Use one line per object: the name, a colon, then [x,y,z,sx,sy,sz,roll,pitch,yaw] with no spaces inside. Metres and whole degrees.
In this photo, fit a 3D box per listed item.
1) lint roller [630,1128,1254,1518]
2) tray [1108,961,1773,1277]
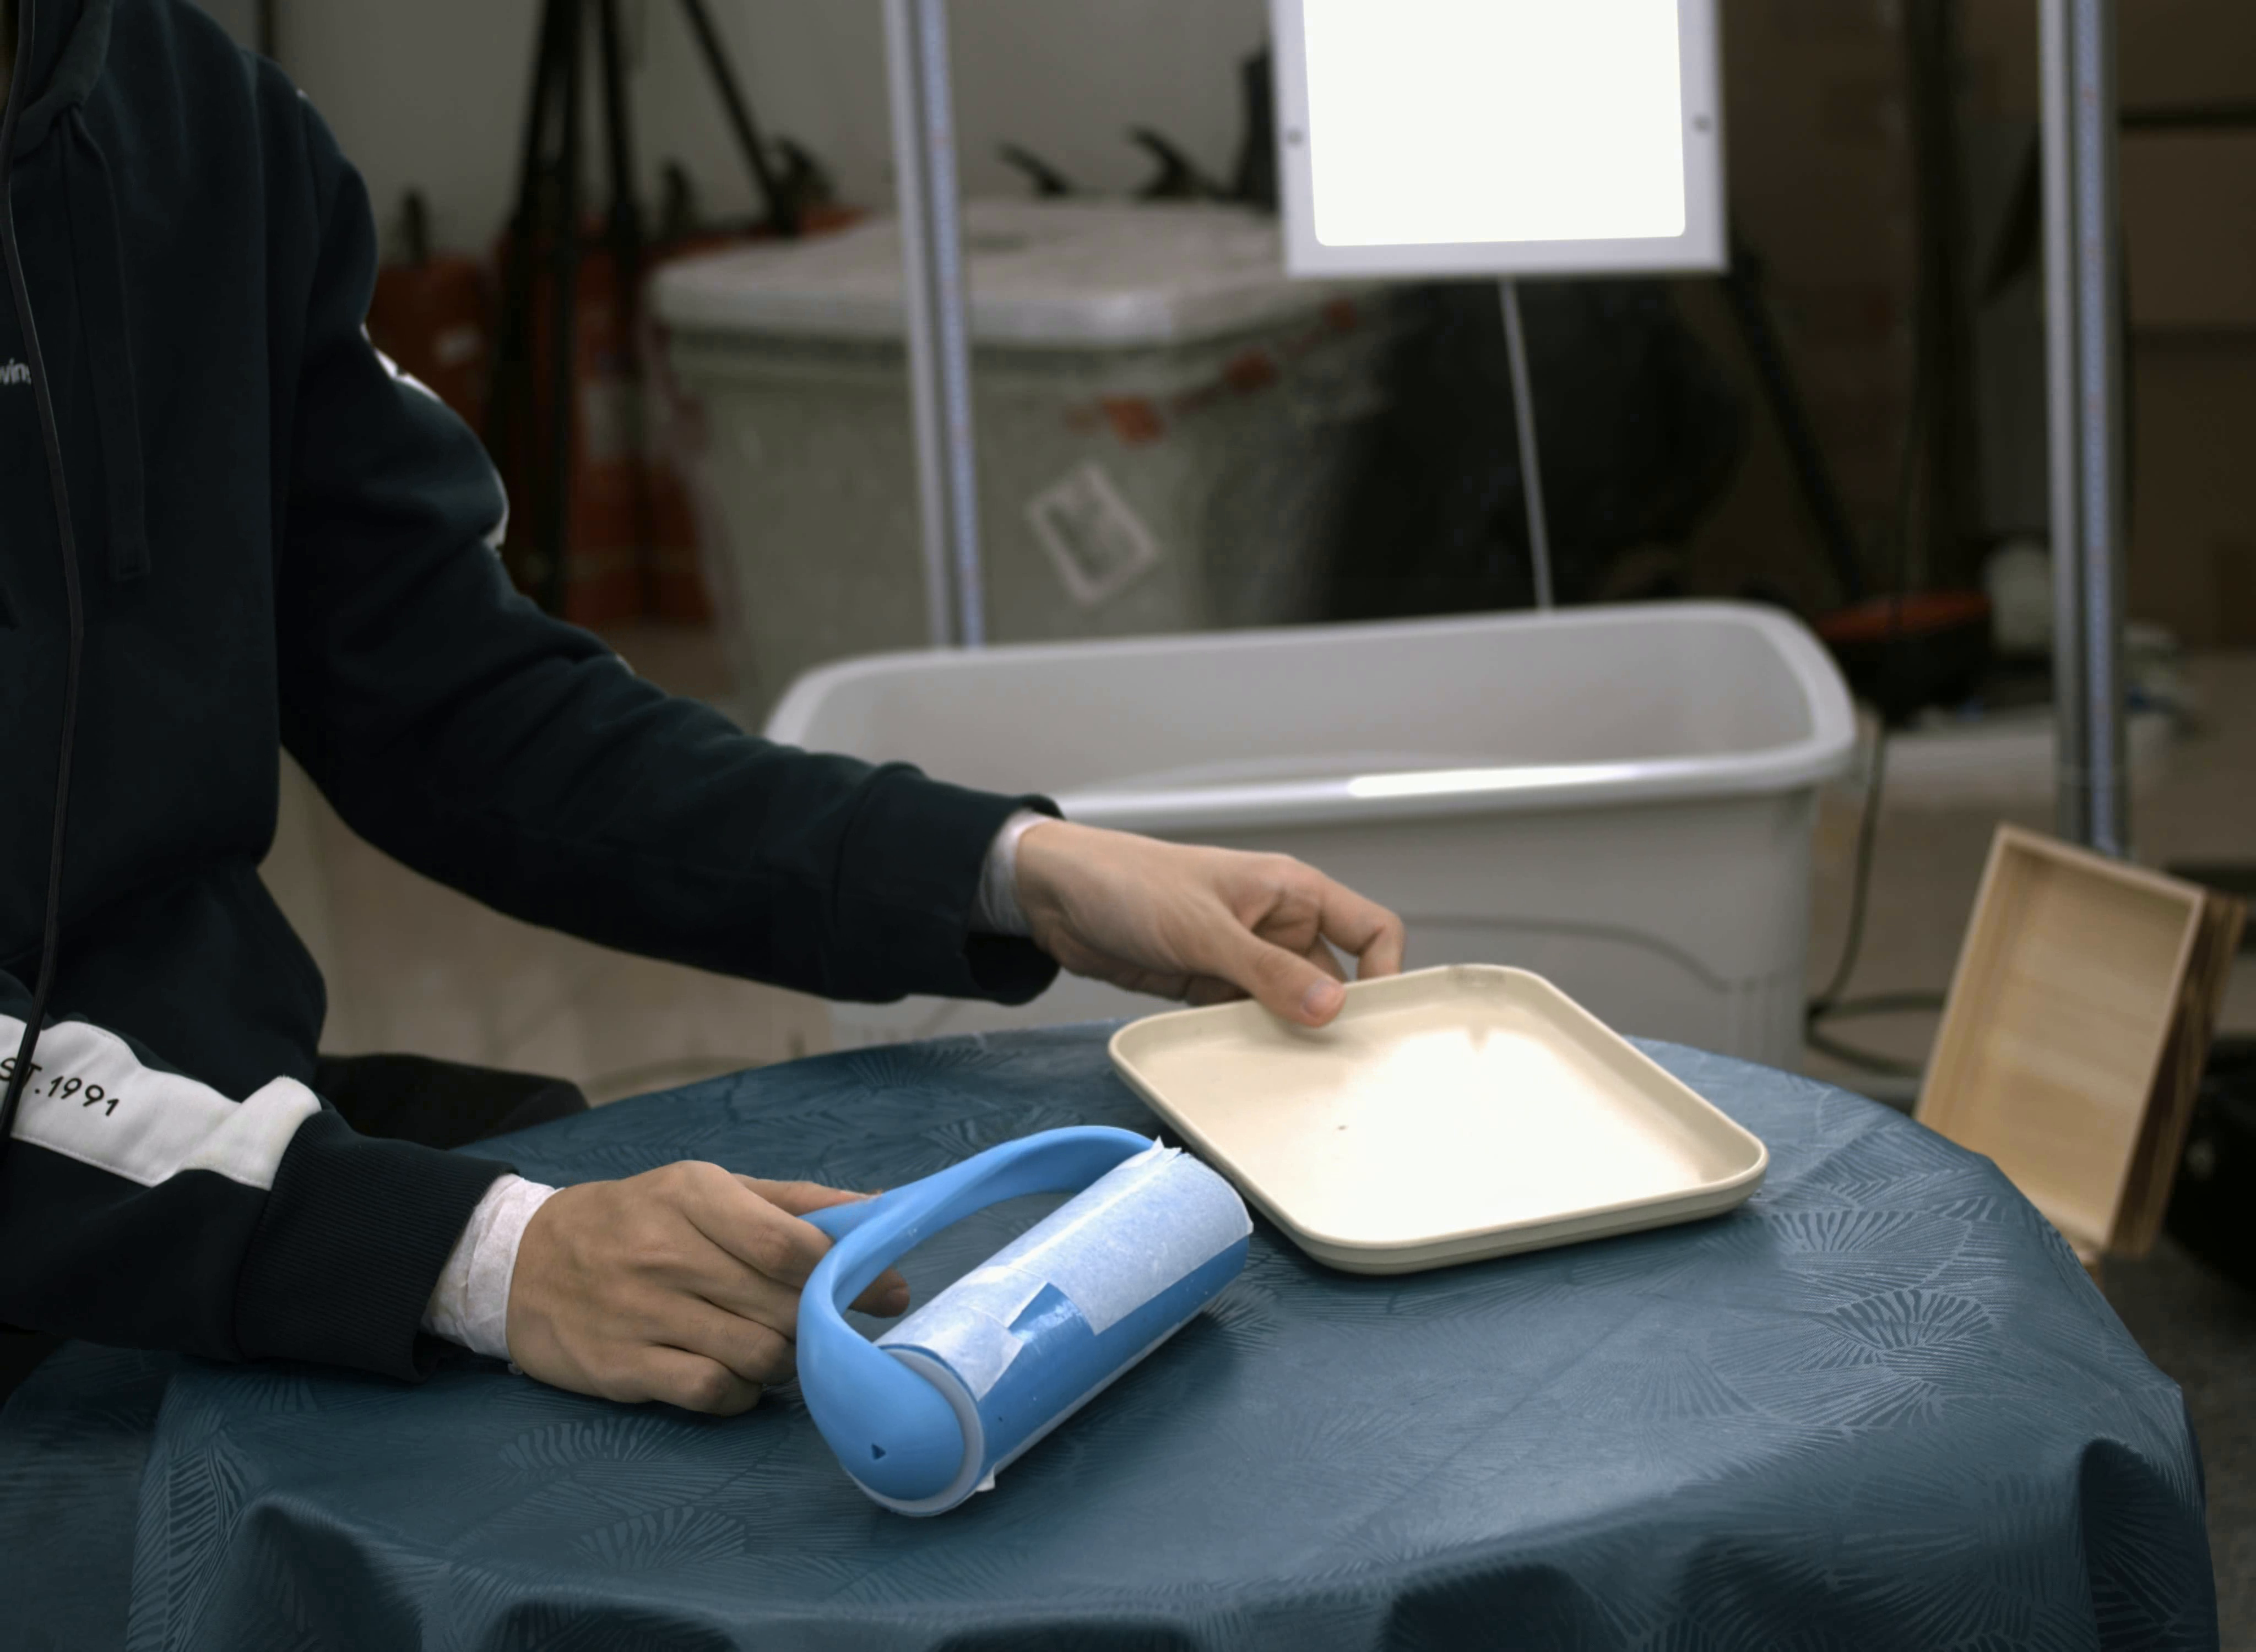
lint roller: [-0.077,0.149,1.710,0.183,0.068,0.224,2,17,24]
tray: [0.104,0.099,1.894,0.168,0.017,0.242,-10,19,-16]
